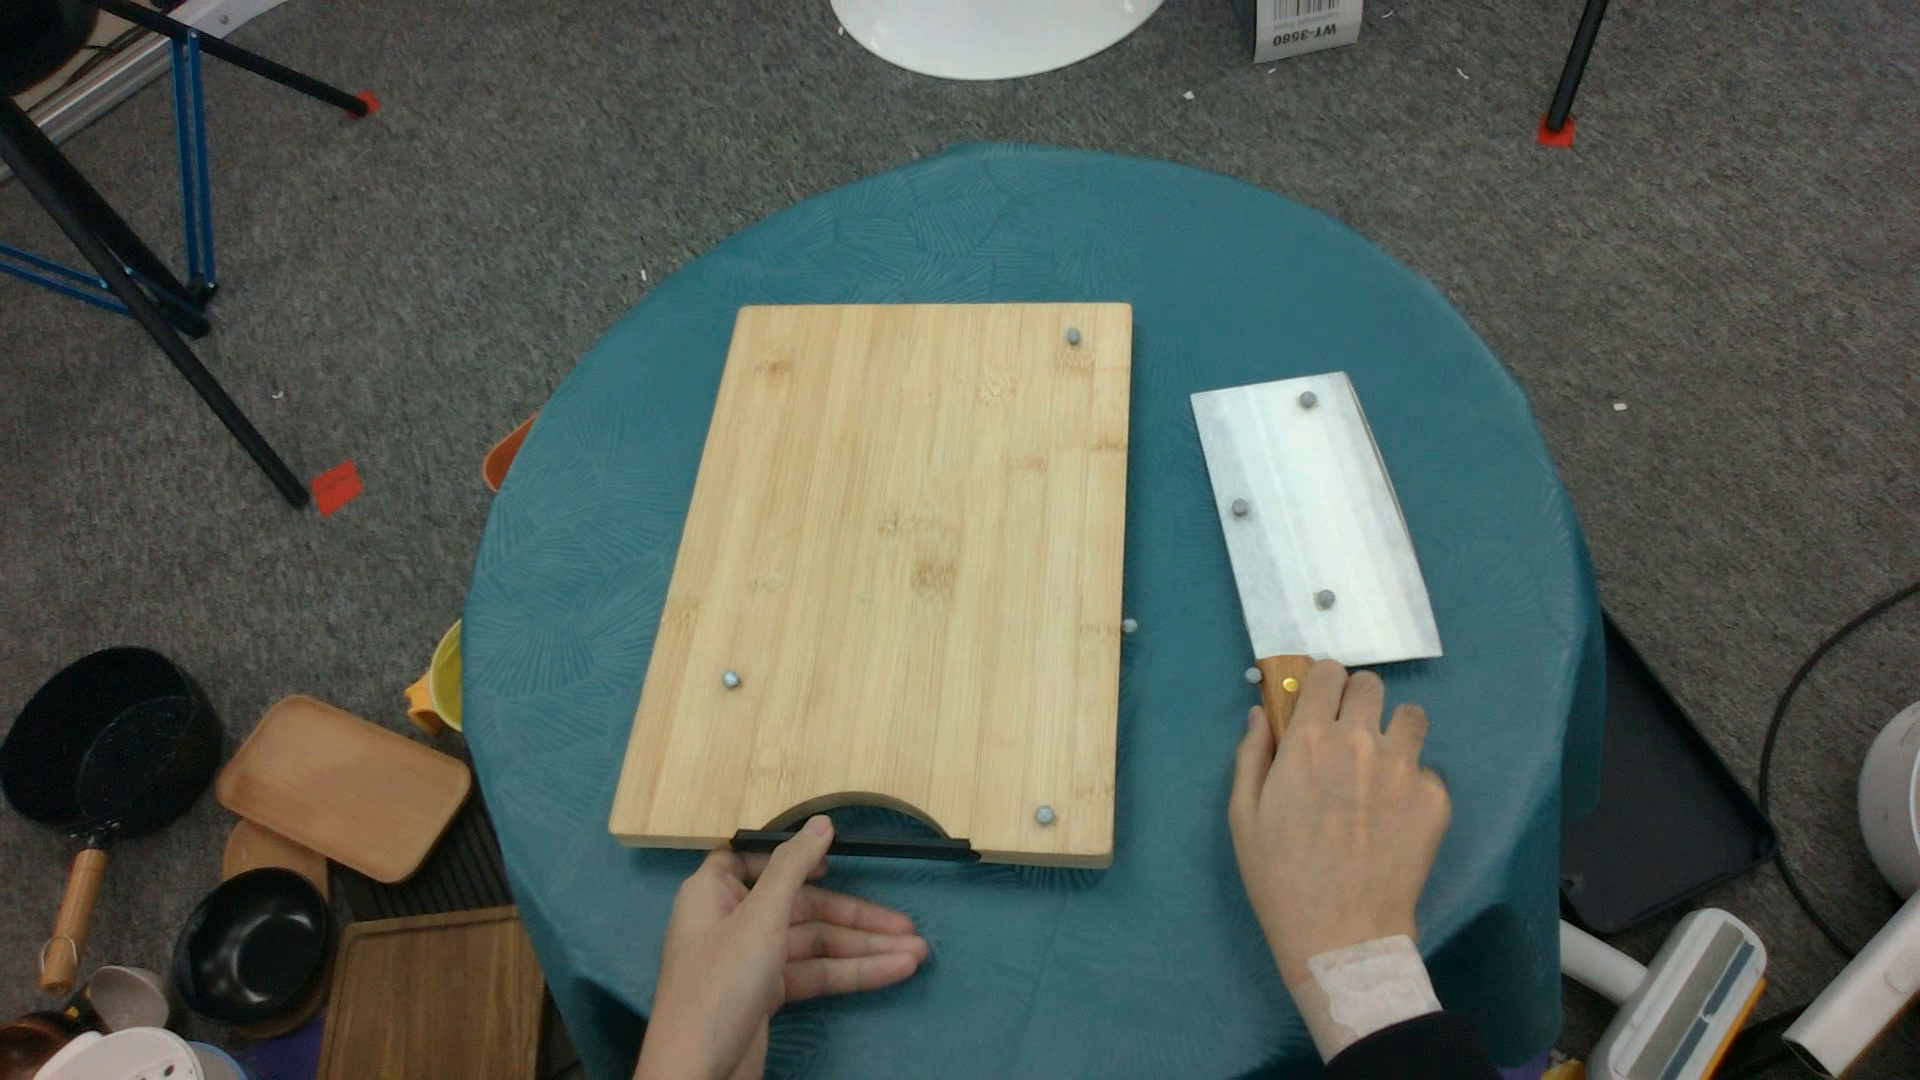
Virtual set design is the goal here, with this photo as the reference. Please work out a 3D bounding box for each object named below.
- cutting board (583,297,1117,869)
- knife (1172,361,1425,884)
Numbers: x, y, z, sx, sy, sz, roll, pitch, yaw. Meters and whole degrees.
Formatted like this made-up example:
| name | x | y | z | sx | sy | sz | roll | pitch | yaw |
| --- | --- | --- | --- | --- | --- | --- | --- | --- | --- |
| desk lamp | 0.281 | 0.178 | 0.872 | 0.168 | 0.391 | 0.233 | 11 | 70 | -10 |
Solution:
| name | x | y | z | sx | sy | sz | roll | pitch | yaw |
| --- | --- | --- | --- | --- | --- | --- | --- | --- | --- |
| cutting board | -0.043 | 0.002 | 0.734 | 0.250 | 0.023 | 0.350 | 0 | 56 | 7 |
| knife | 0.179 | 0.023 | 0.695 | 0.093 | 0.021 | 0.307 | -8 | 53 | 1 |
